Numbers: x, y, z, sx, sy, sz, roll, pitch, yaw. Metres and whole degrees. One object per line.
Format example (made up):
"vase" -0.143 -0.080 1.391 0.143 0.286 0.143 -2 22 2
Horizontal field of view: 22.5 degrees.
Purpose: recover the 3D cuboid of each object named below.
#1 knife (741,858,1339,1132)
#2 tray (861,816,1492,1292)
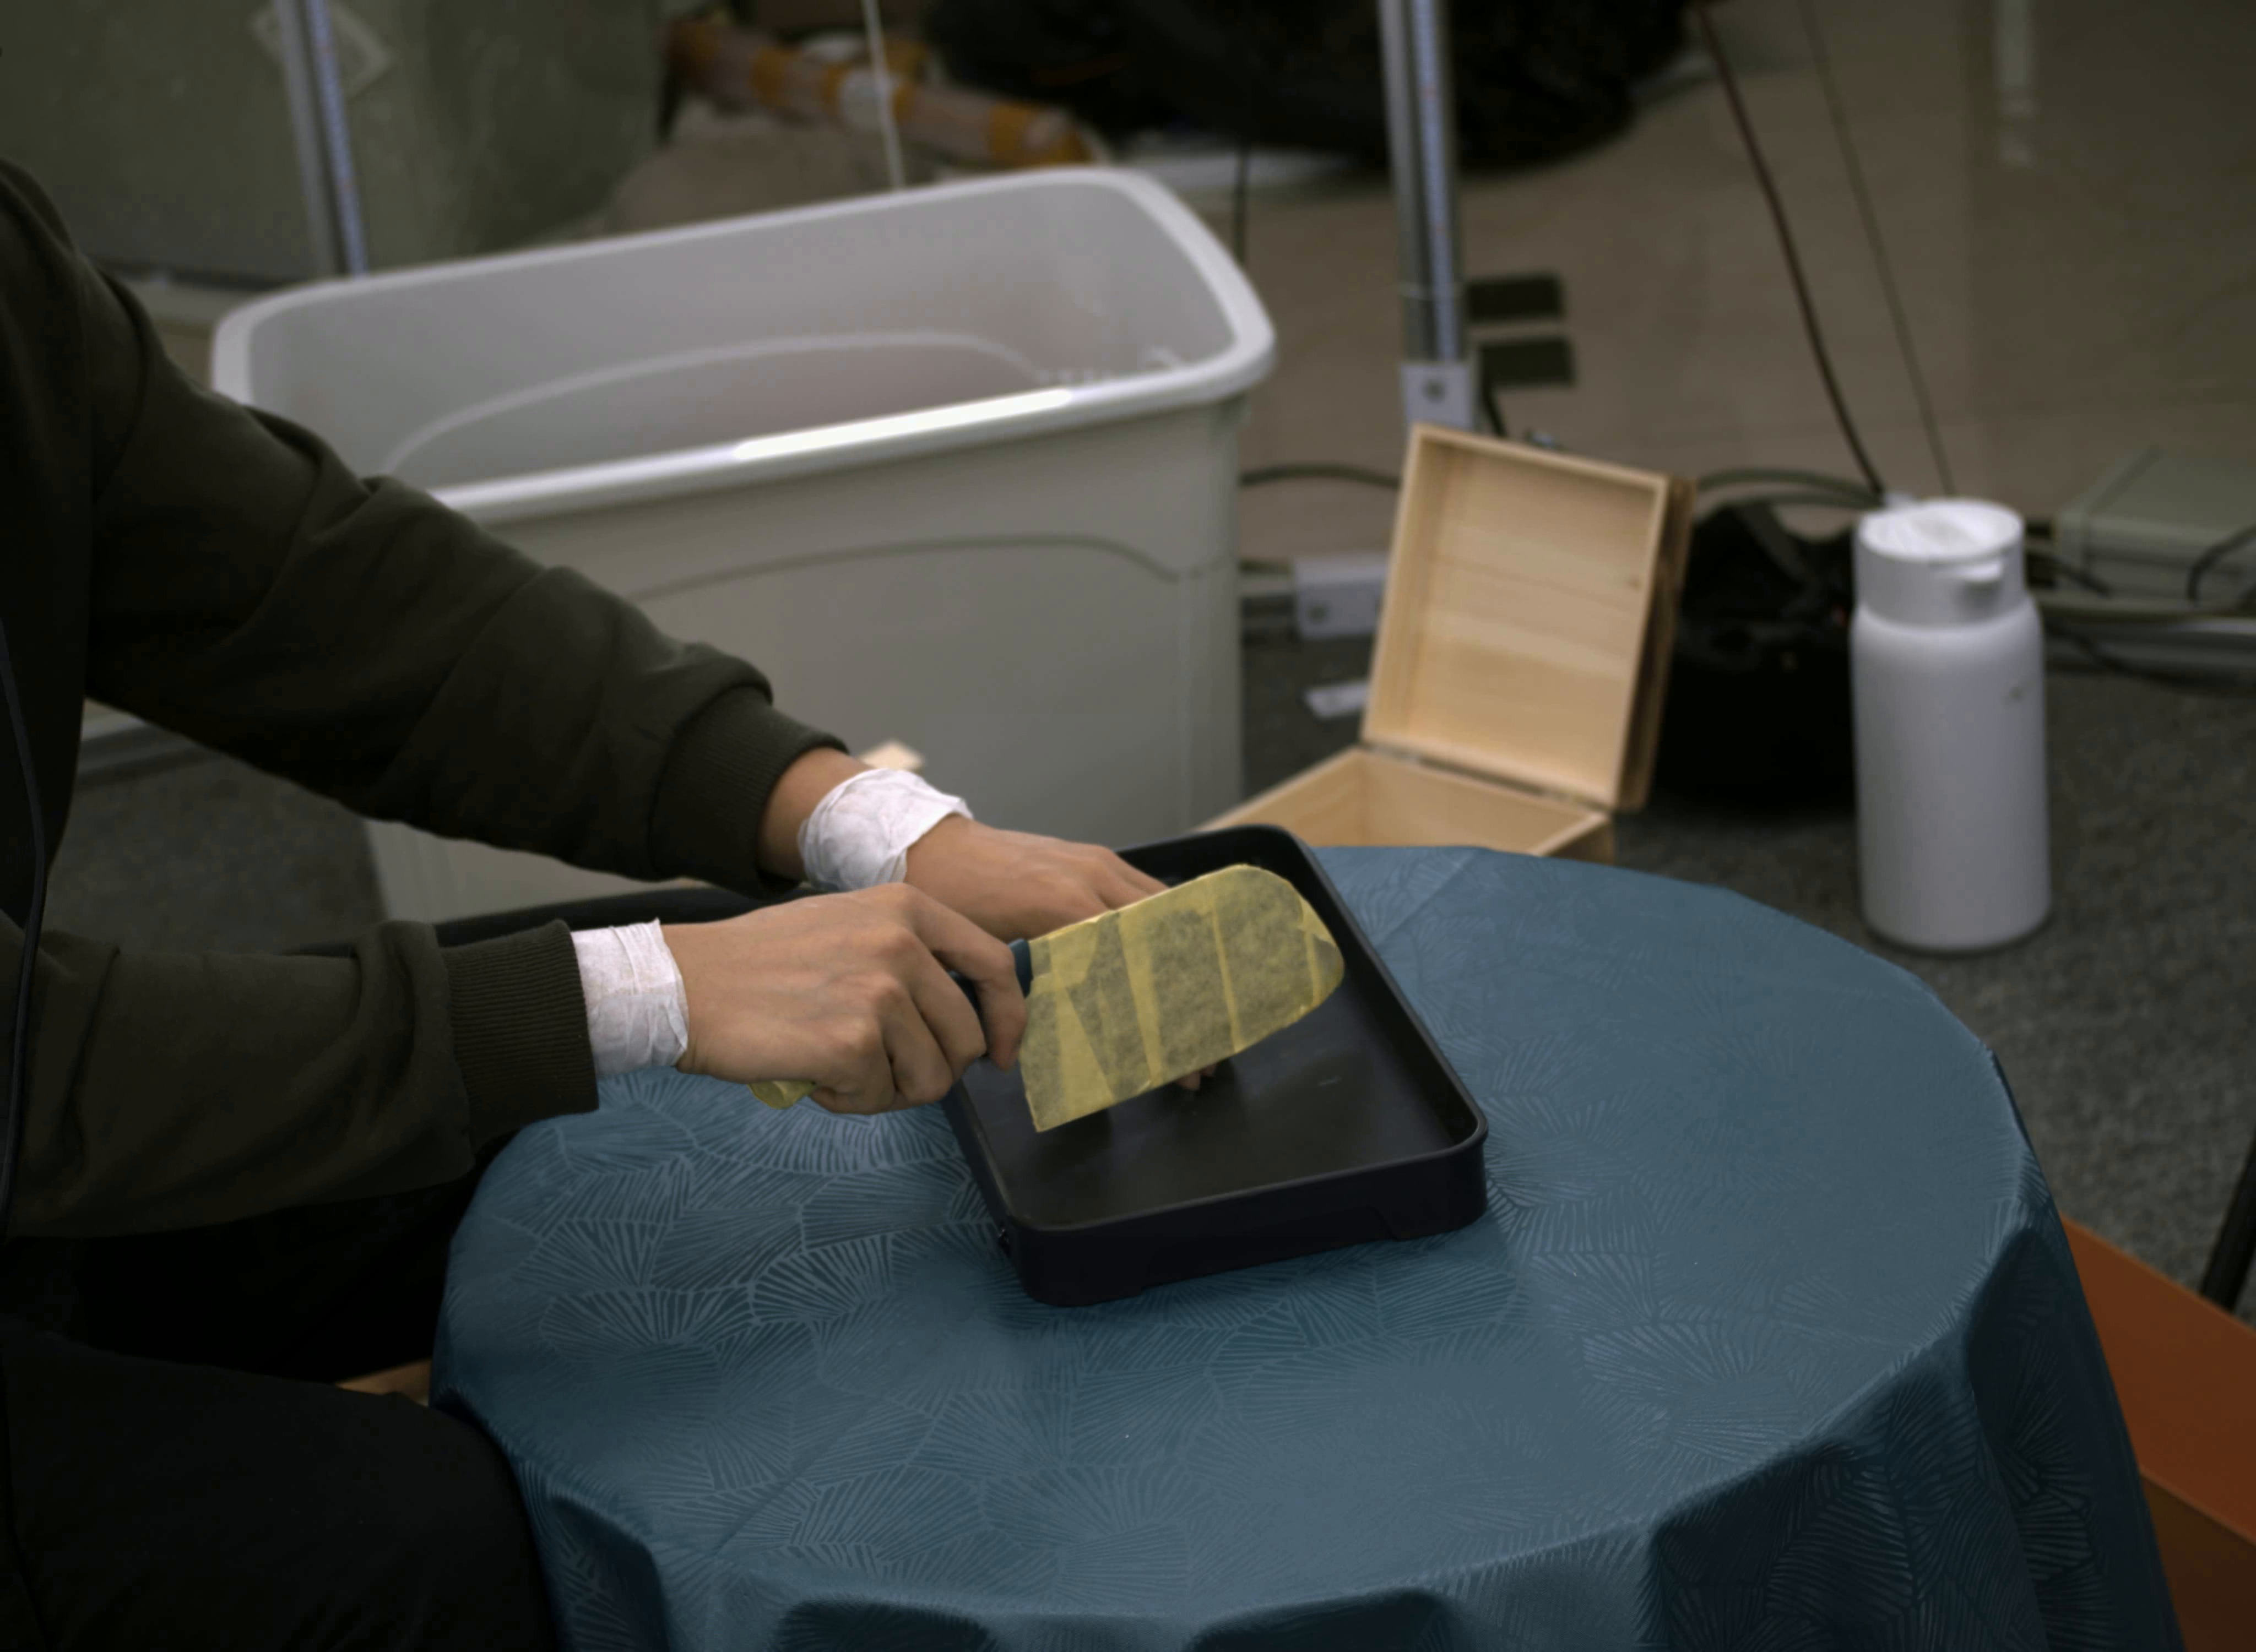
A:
"knife" -0.026 0.073 2.155 0.288 0.081 0.027 -16 11 -37
"tray" 0.014 0.084 2.220 0.184 0.037 0.313 -11 25 -11
